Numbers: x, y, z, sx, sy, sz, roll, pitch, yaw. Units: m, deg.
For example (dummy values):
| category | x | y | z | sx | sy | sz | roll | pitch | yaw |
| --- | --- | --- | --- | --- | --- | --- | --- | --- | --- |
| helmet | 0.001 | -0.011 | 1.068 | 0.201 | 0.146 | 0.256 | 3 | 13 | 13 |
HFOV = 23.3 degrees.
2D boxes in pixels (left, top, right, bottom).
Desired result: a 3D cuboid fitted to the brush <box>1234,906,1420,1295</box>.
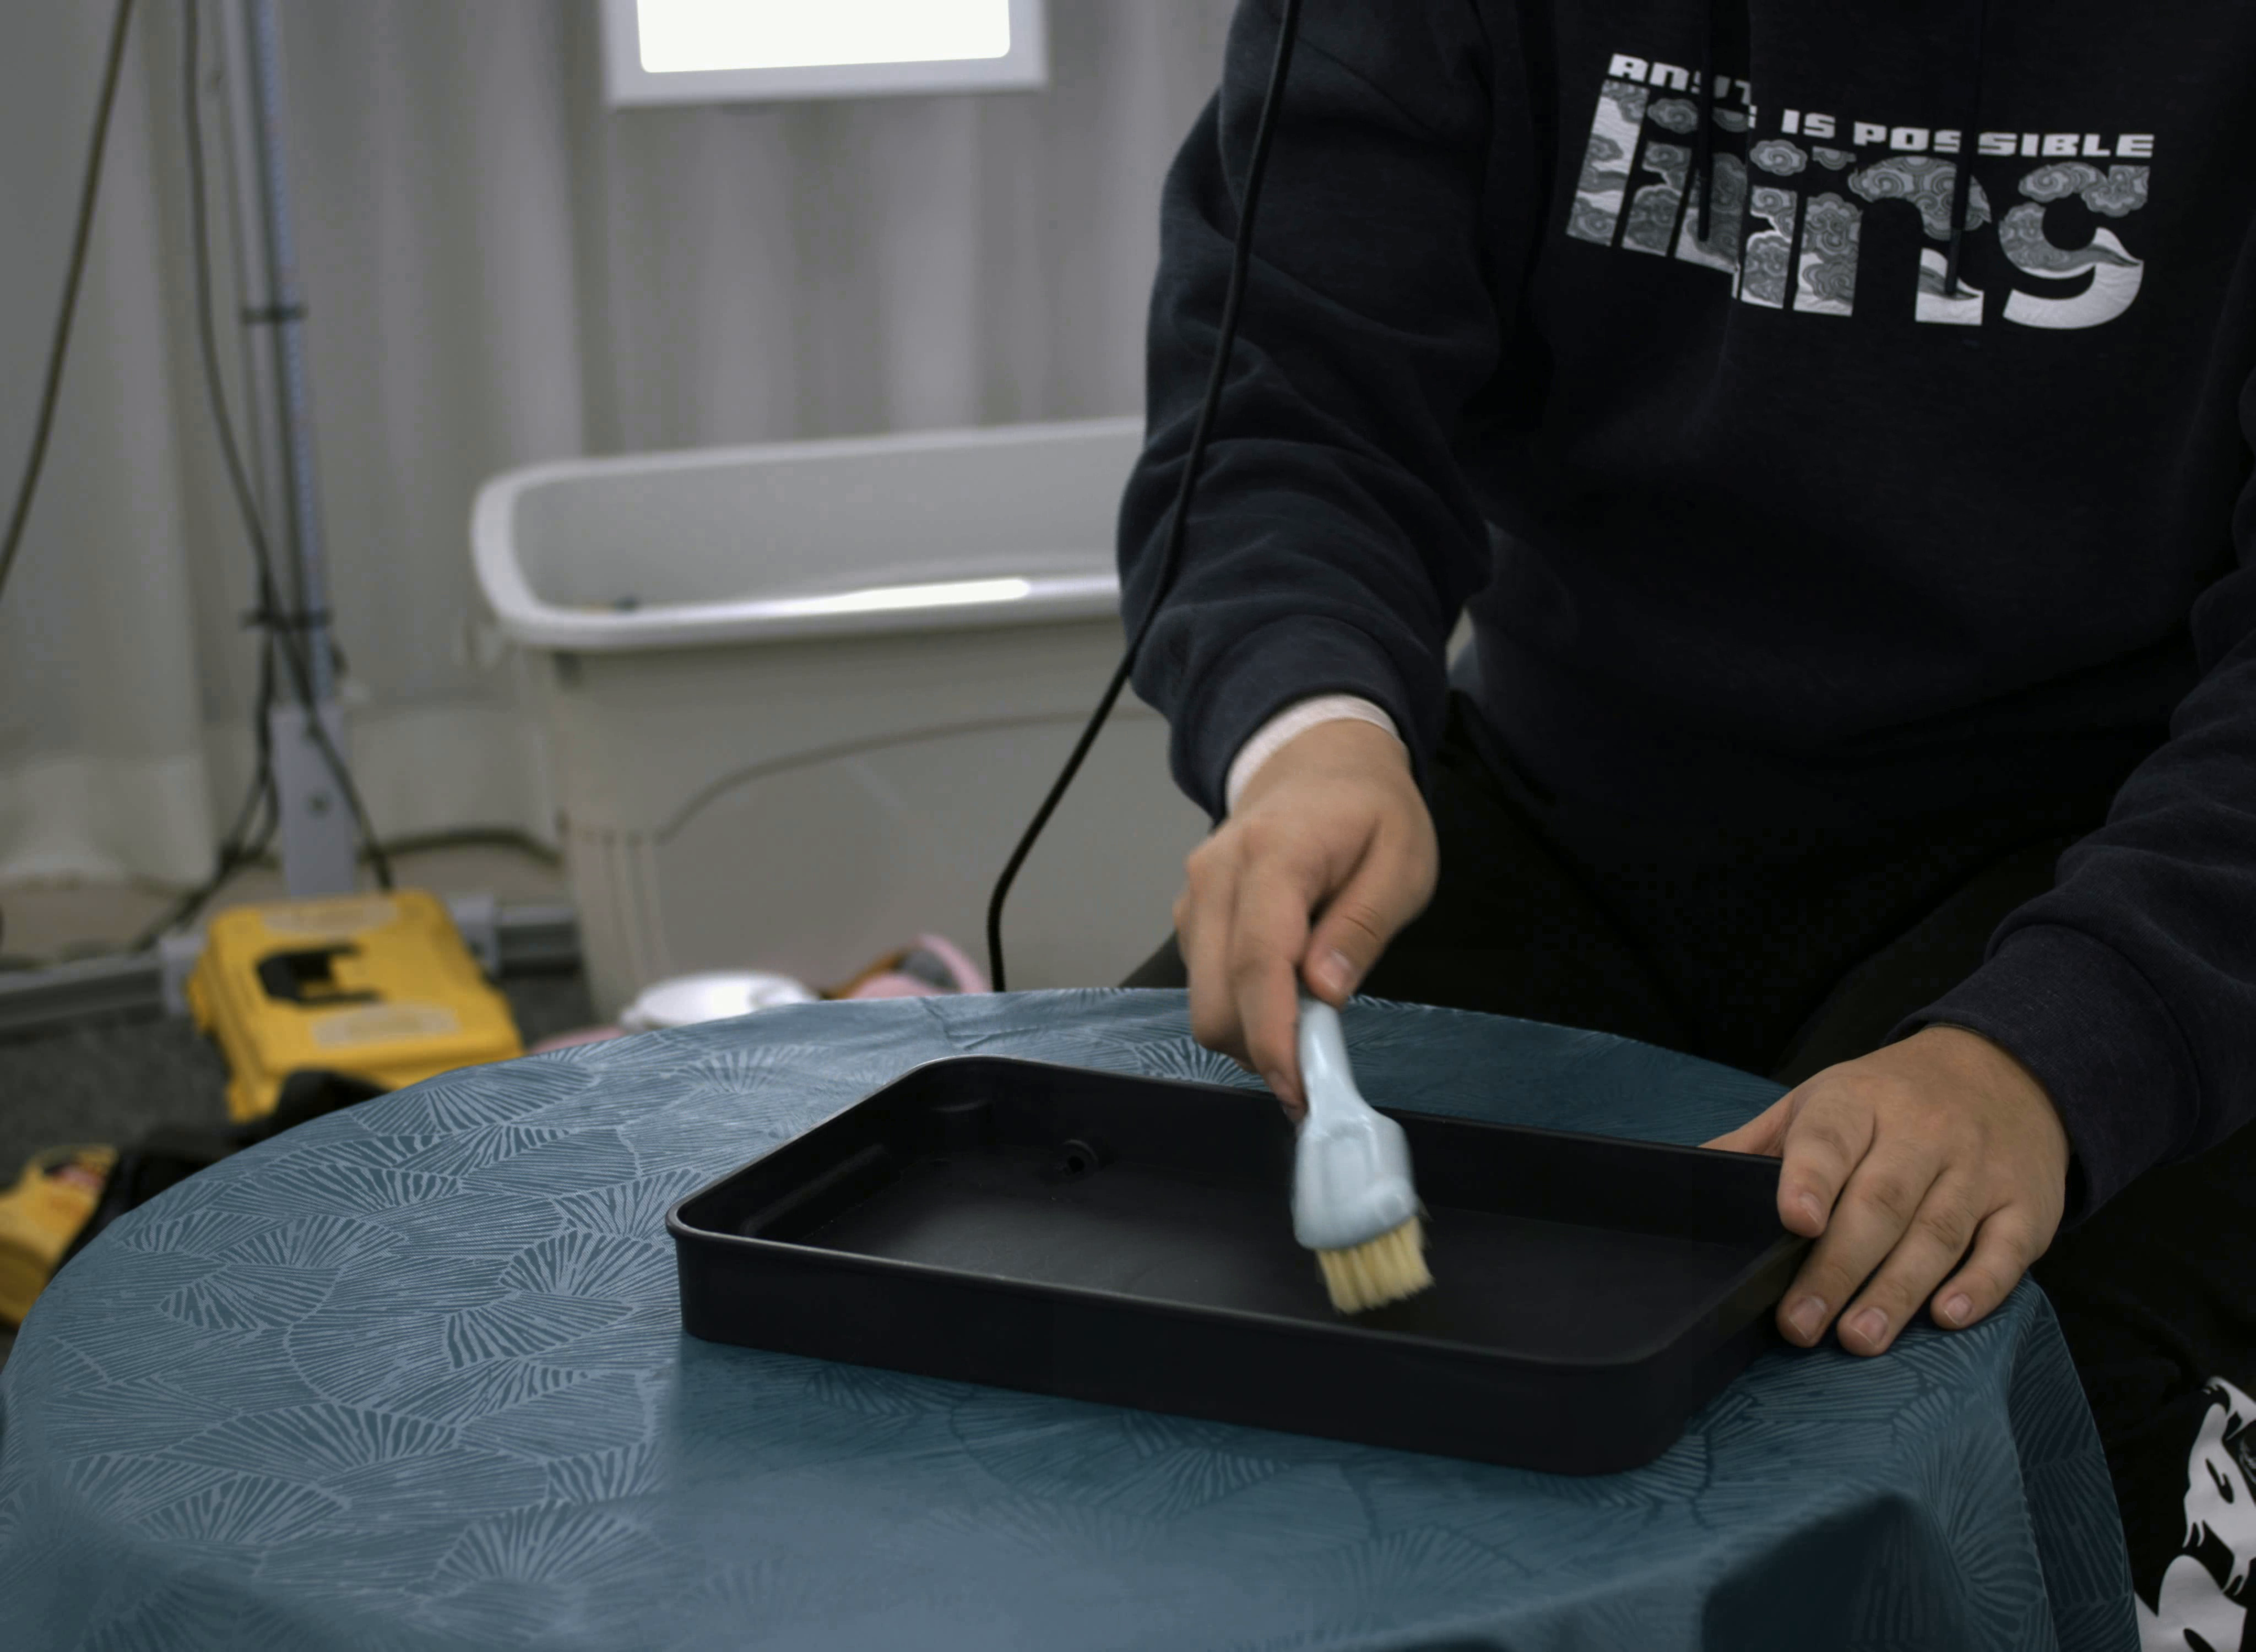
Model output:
| category | x | y | z | sx | sy | sz | roll | pitch | yaw |
| --- | --- | --- | --- | --- | --- | --- | --- | --- | --- |
| brush | 0.056 | 0.079 | 1.644 | 0.037 | 0.049 | 0.231 | -23 | 23 | 3 |

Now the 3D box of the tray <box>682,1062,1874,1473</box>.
| category | x | y | z | sx | sy | sz | roll | pitch | yaw |
| --- | --- | --- | --- | --- | --- | --- | --- | --- | --- |
| tray | 0.044 | 0.125 | 1.602 | 0.318 | 0.037 | 0.184 | 5 | 16 | 27 |
